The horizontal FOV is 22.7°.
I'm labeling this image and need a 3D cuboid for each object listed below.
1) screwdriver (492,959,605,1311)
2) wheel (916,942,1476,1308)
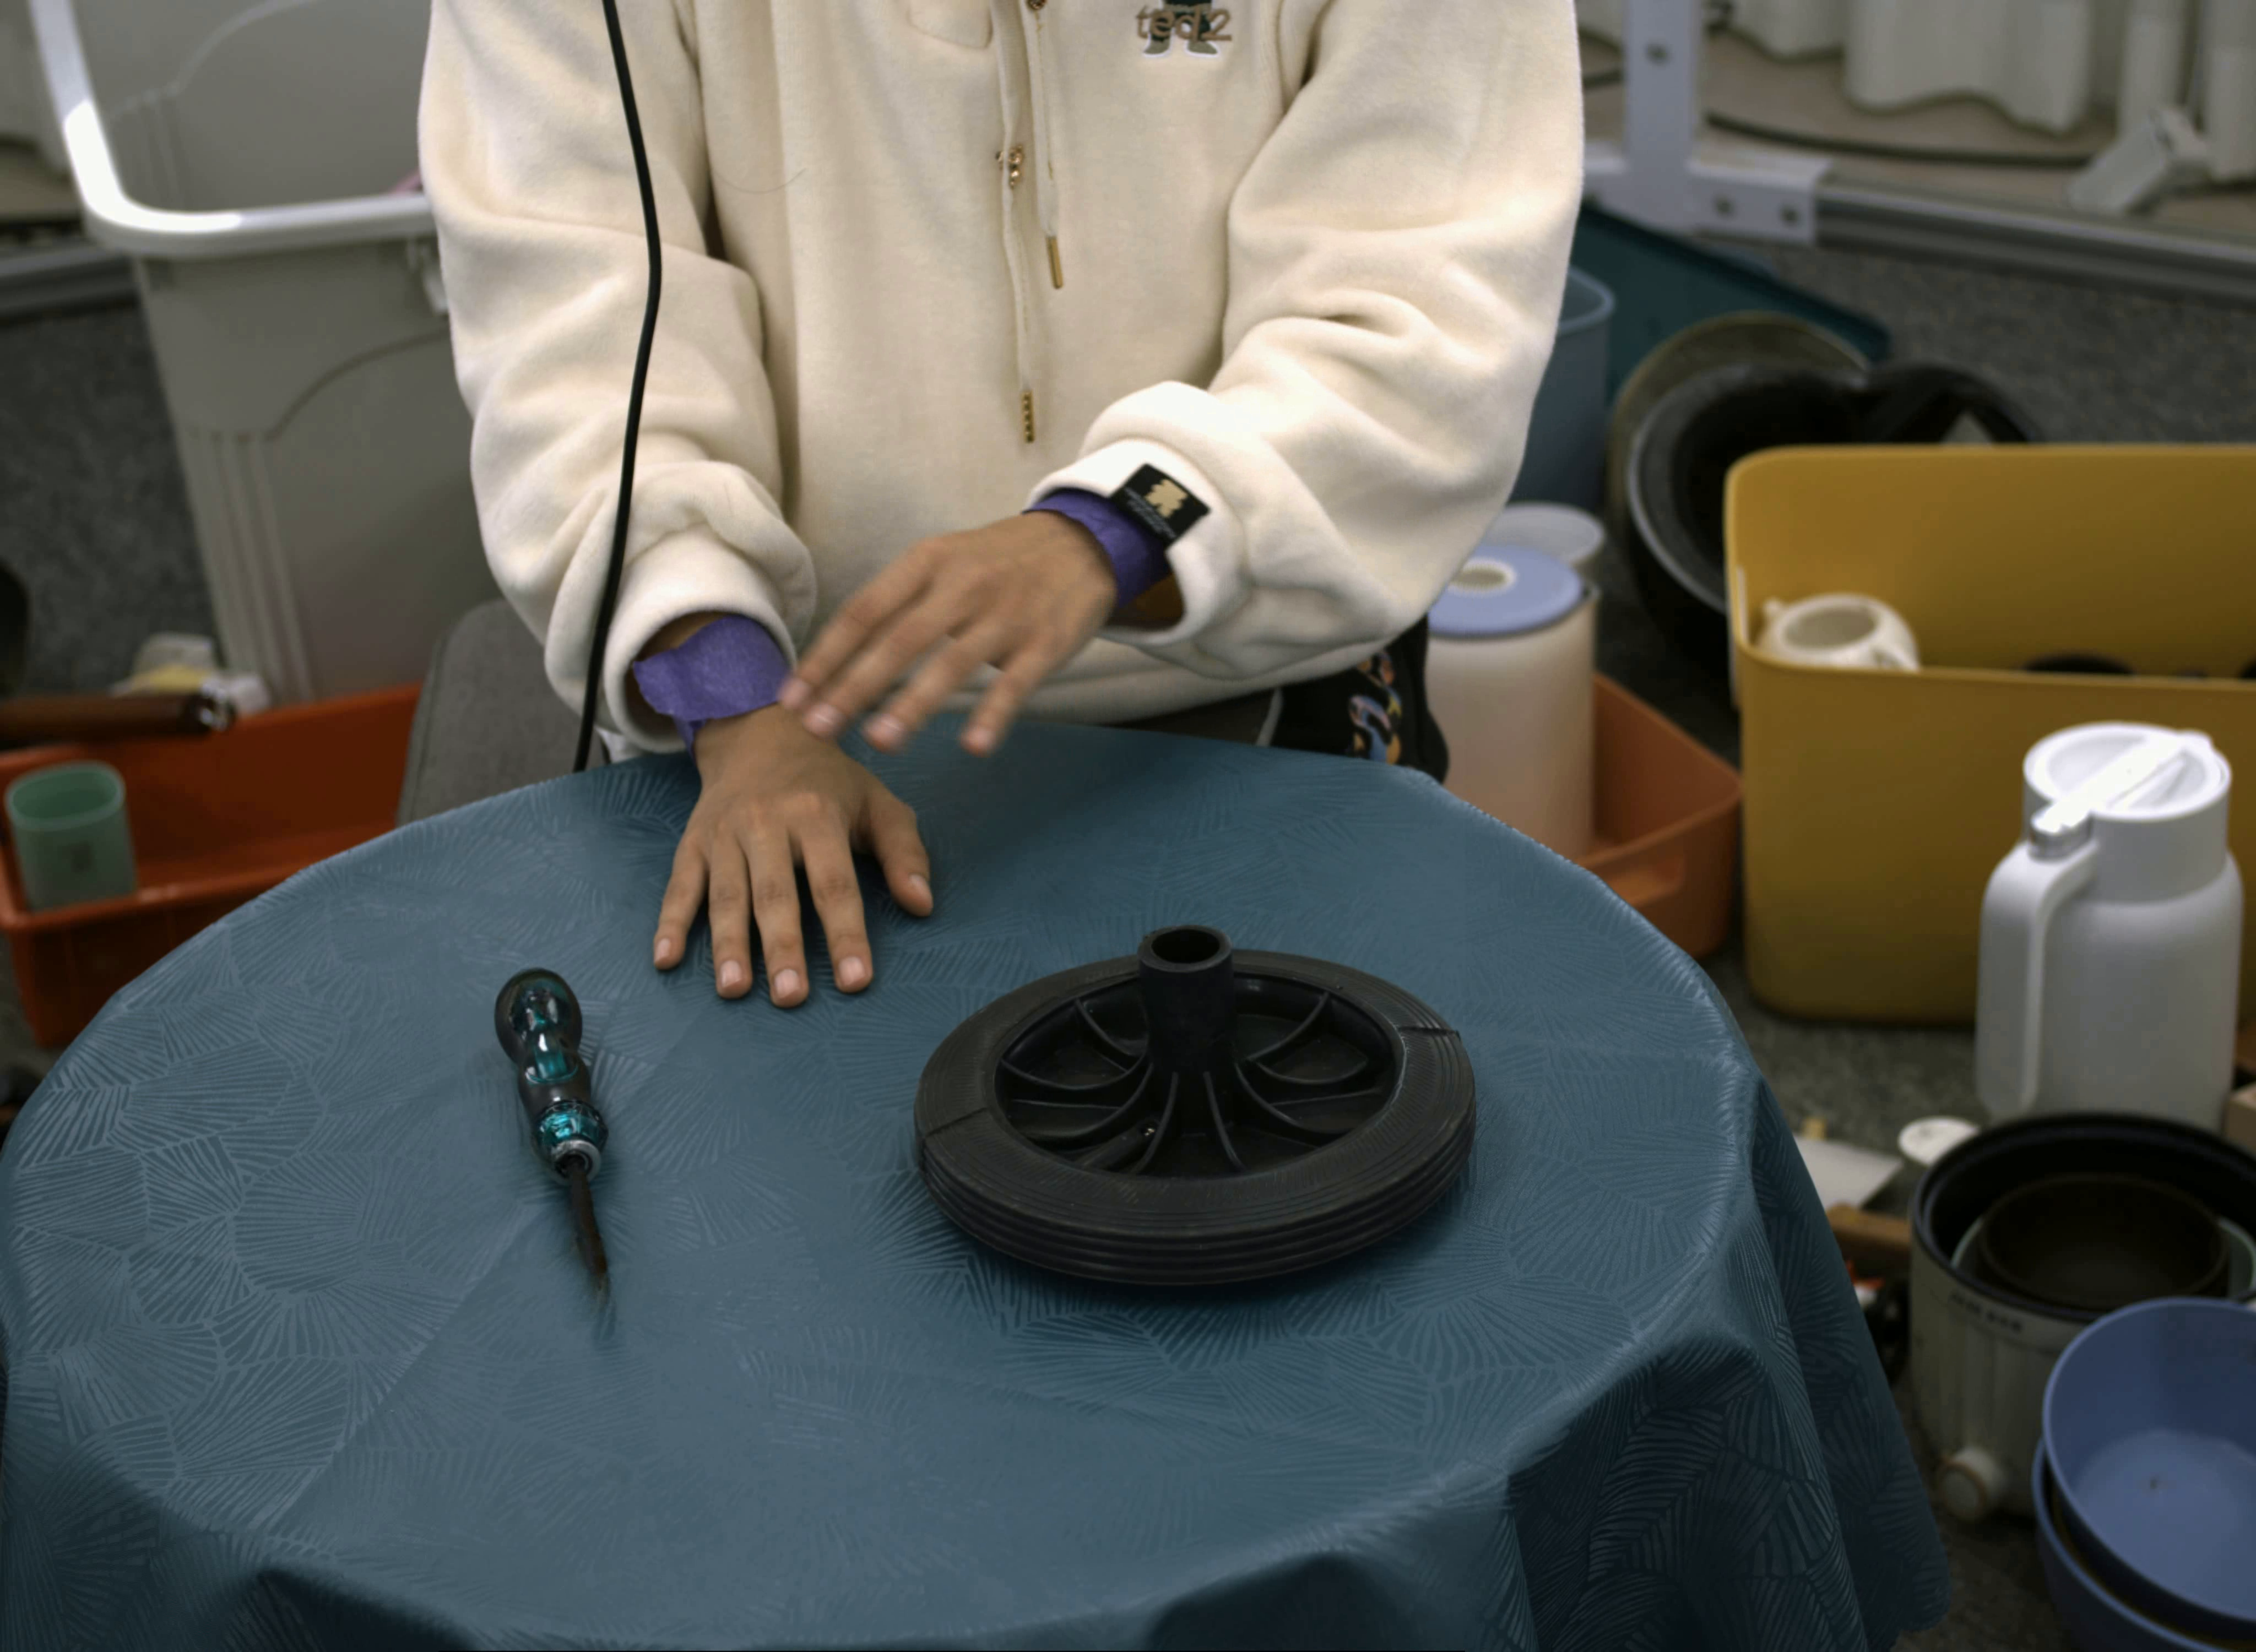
[{"bbox_3d":[-0.190,0.106,1.888,0.033,0.033,0.192,-7,33,-9],"label":"screwdriver"},{"bbox_3d":[0.020,0.080,1.859,0.186,0.078,0.193,7,31,19],"label":"wheel"}]
